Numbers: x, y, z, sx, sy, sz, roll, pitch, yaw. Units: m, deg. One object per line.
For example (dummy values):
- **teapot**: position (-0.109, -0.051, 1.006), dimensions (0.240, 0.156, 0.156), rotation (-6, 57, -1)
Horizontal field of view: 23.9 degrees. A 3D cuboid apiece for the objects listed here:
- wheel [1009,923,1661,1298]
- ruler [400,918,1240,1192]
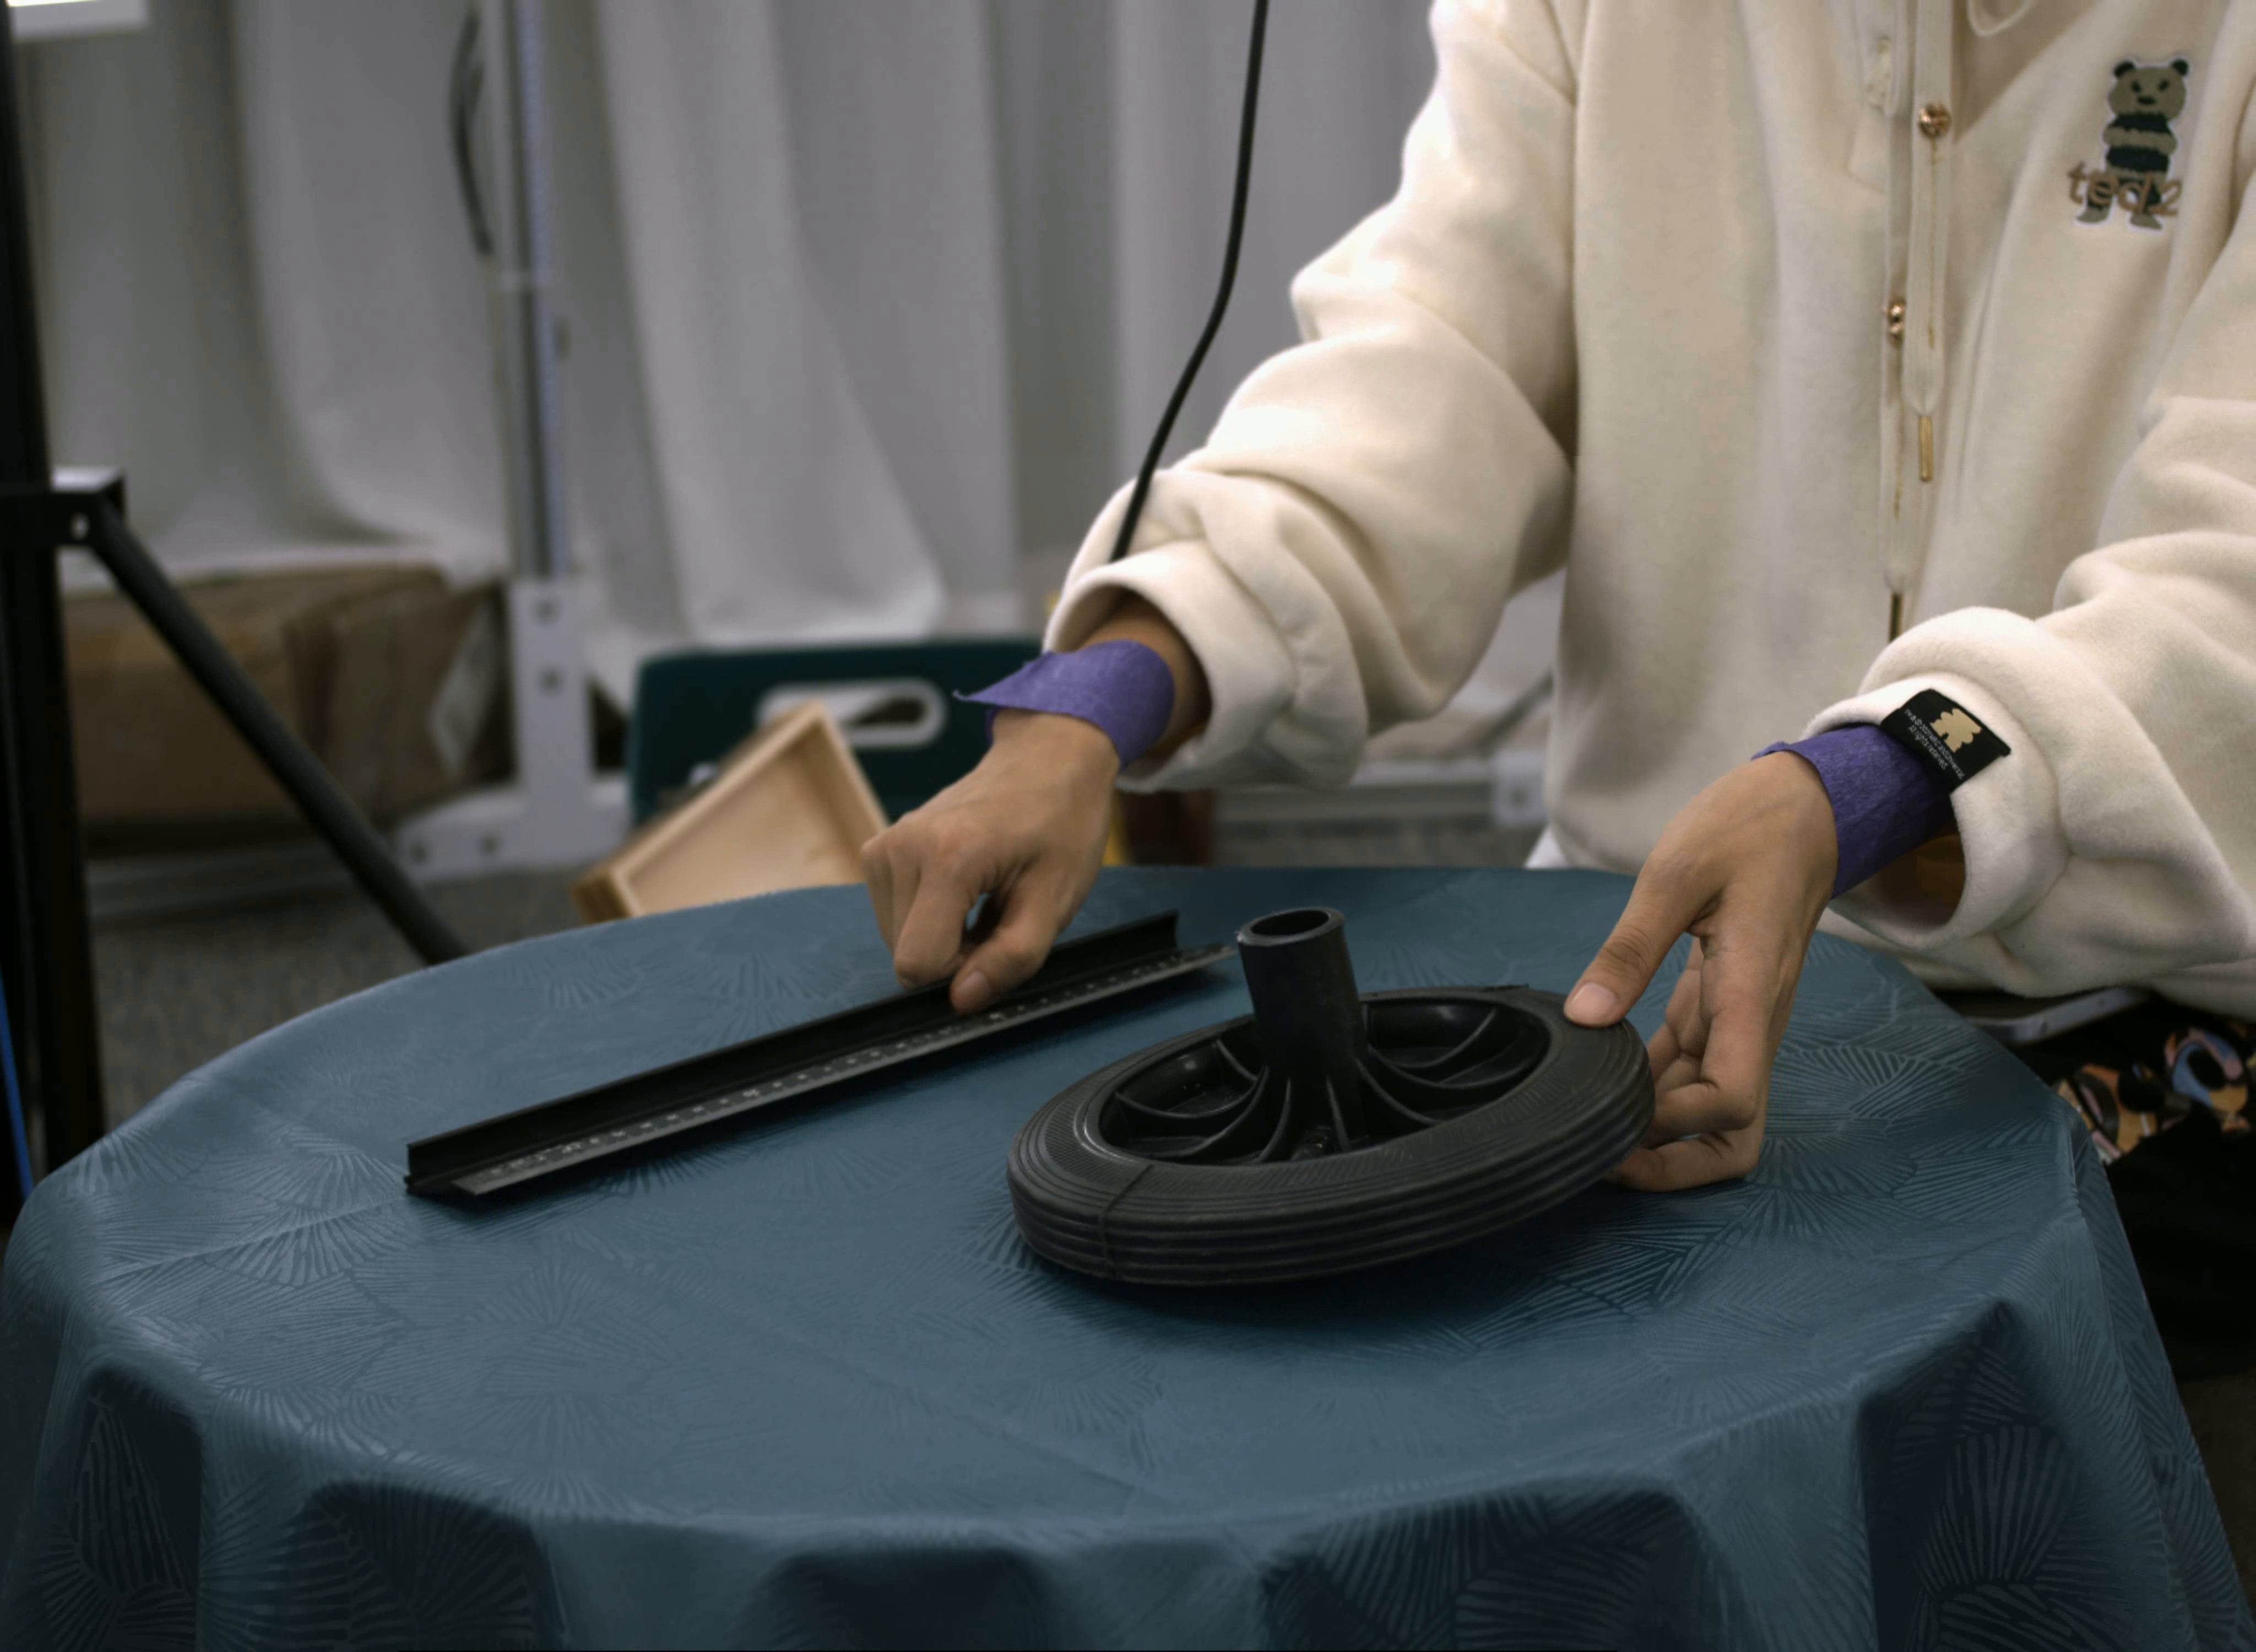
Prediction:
- **wheel**: position (0.055, 0.070, 1.516), dimensions (0.186, 0.079, 0.192), rotation (-13, 15, -5)
- **ruler**: position (-0.090, 0.070, 1.667), dimensions (0.305, 0.017, 0.040), rotation (-15, 14, -37)
